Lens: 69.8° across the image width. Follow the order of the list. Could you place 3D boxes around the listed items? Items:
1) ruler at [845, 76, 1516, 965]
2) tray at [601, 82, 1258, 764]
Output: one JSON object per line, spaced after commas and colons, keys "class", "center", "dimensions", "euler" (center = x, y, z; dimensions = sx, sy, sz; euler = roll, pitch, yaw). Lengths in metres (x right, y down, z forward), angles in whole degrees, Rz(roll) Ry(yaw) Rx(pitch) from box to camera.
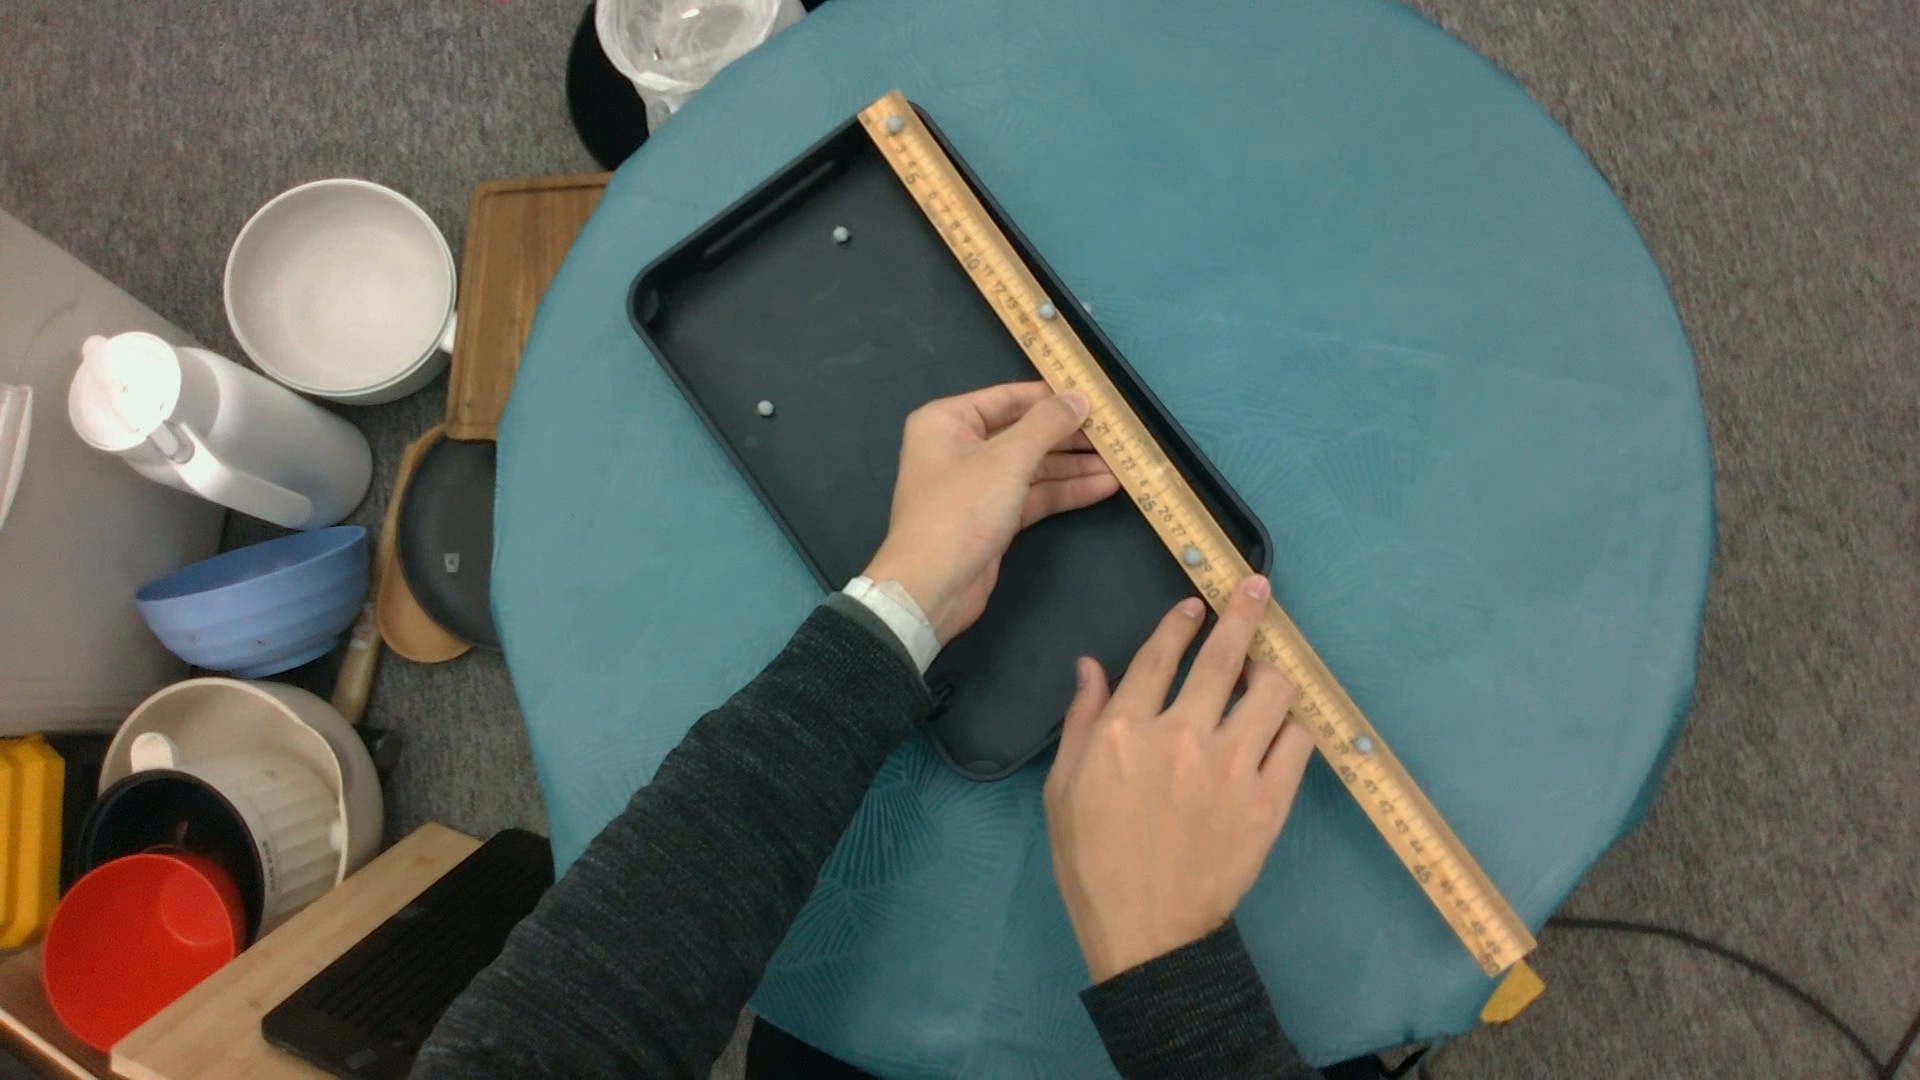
{"class": "ruler", "center": [0.087, -0.027, 0.638], "dimensions": [0.027, 0.006, 0.501], "euler": [-35, 76, 1]}
{"class": "tray", "center": [-0.020, -0.063, 0.678], "dimensions": [0.184, 0.037, 0.318], "euler": [-38, 77, -2]}
